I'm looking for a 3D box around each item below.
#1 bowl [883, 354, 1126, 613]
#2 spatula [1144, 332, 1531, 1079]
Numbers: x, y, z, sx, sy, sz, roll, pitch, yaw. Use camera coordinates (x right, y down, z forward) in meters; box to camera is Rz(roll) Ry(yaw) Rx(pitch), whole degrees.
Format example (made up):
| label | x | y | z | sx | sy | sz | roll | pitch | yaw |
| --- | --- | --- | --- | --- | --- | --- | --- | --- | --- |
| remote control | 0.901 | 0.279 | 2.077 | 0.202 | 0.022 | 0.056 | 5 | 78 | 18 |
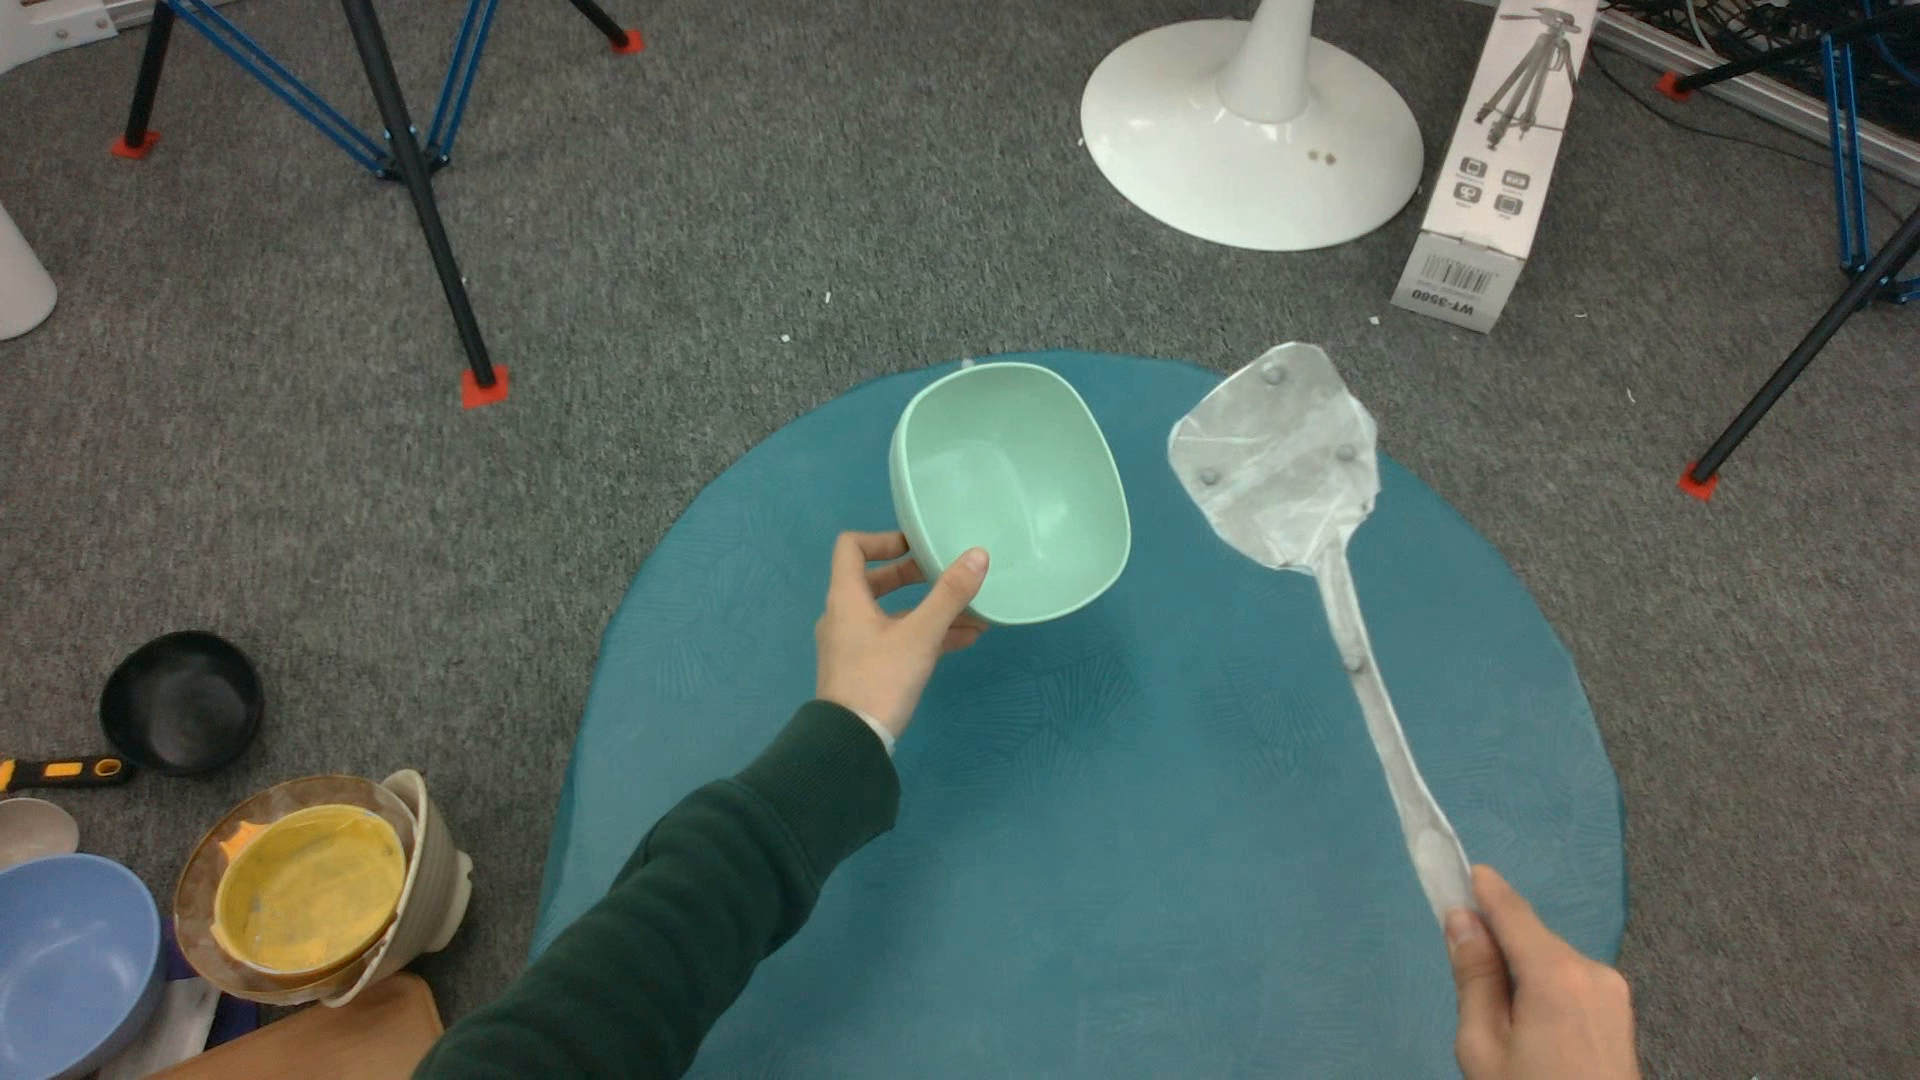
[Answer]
| label | x | y | z | sx | sy | sz | roll | pitch | yaw |
| --- | --- | --- | --- | --- | --- | --- | --- | --- | --- |
| bowl | 0.014 | -0.024 | 0.738 | 0.151 | 0.058 | 0.152 | 13 | 66 | -31 |
| spatula | 0.173 | 0.069 | 0.612 | 0.045 | 0.098 | 0.366 | 20 | 46 | -42 |
